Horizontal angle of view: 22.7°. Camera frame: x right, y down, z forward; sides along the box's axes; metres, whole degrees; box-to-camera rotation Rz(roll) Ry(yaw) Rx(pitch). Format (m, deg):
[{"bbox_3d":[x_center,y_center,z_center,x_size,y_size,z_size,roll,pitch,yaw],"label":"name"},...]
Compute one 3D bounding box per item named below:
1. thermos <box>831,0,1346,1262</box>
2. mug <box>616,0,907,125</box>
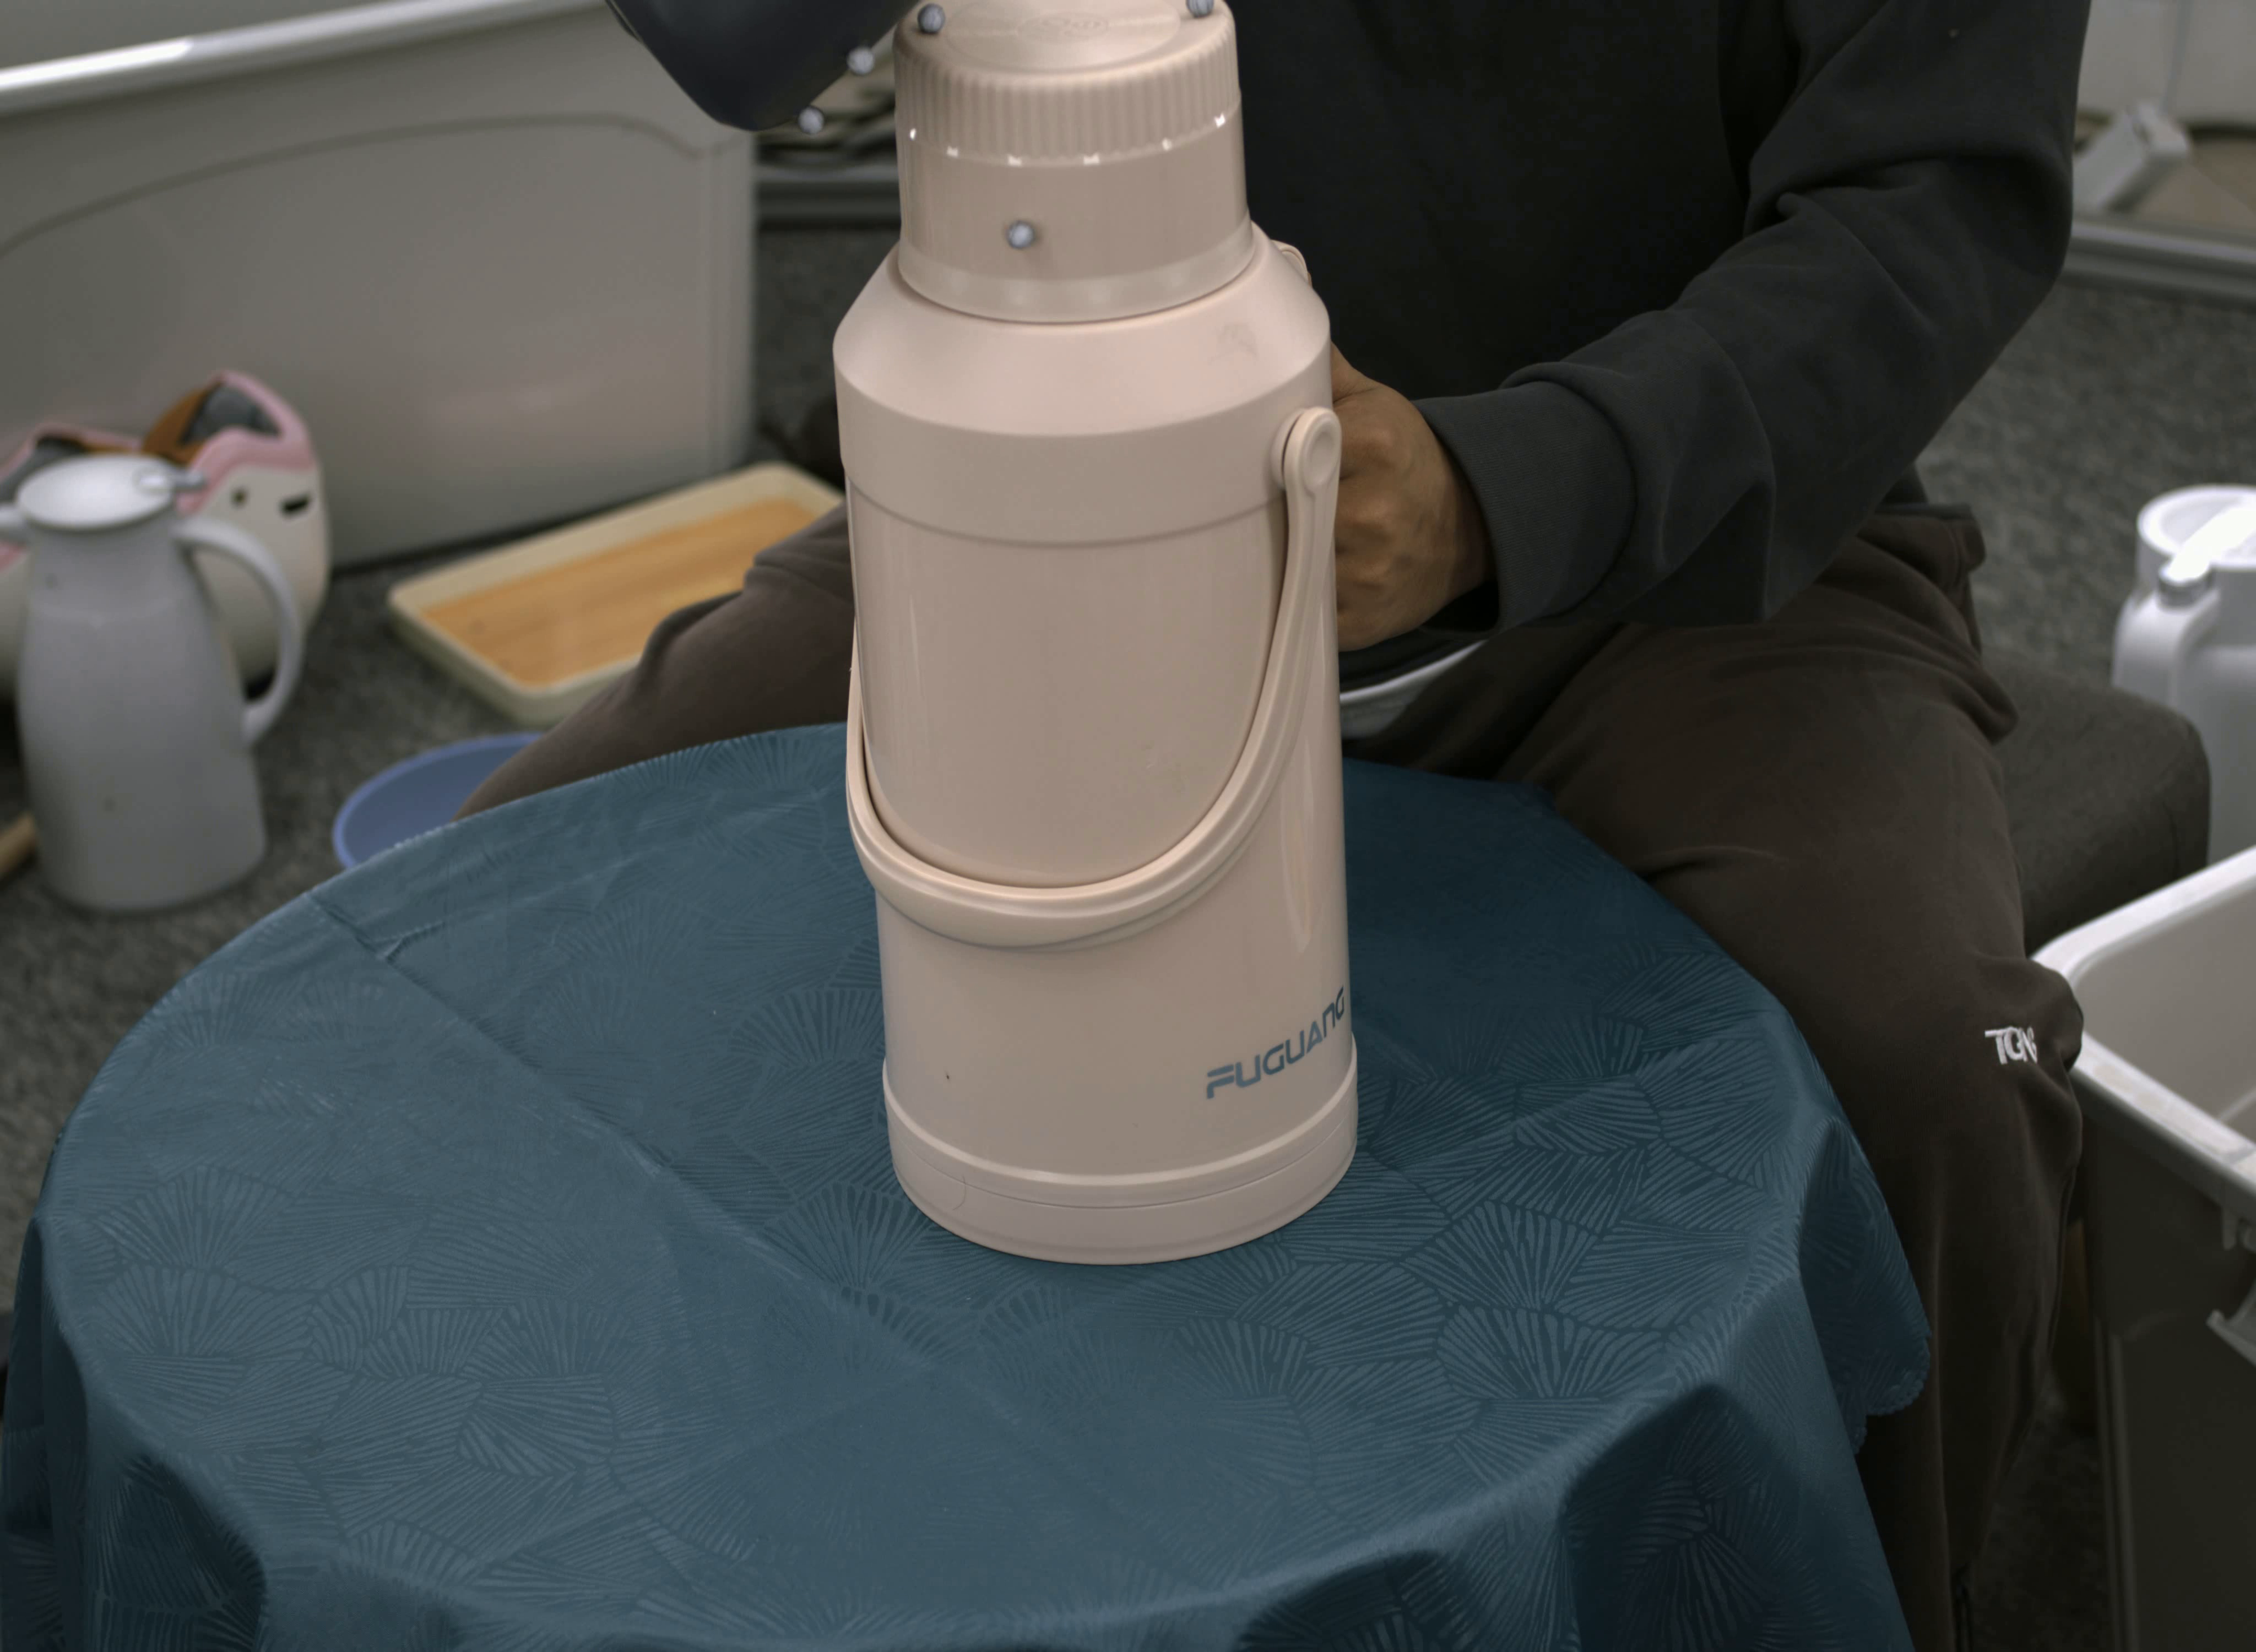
[{"bbox_3d":[-0.003,-0.075,1.819,0.174,0.402,0.210,13,31,30],"label":"thermos"},{"bbox_3d":[-0.110,-0.274,1.694,0.089,0.093,0.125,-36,28,8],"label":"mug"}]
